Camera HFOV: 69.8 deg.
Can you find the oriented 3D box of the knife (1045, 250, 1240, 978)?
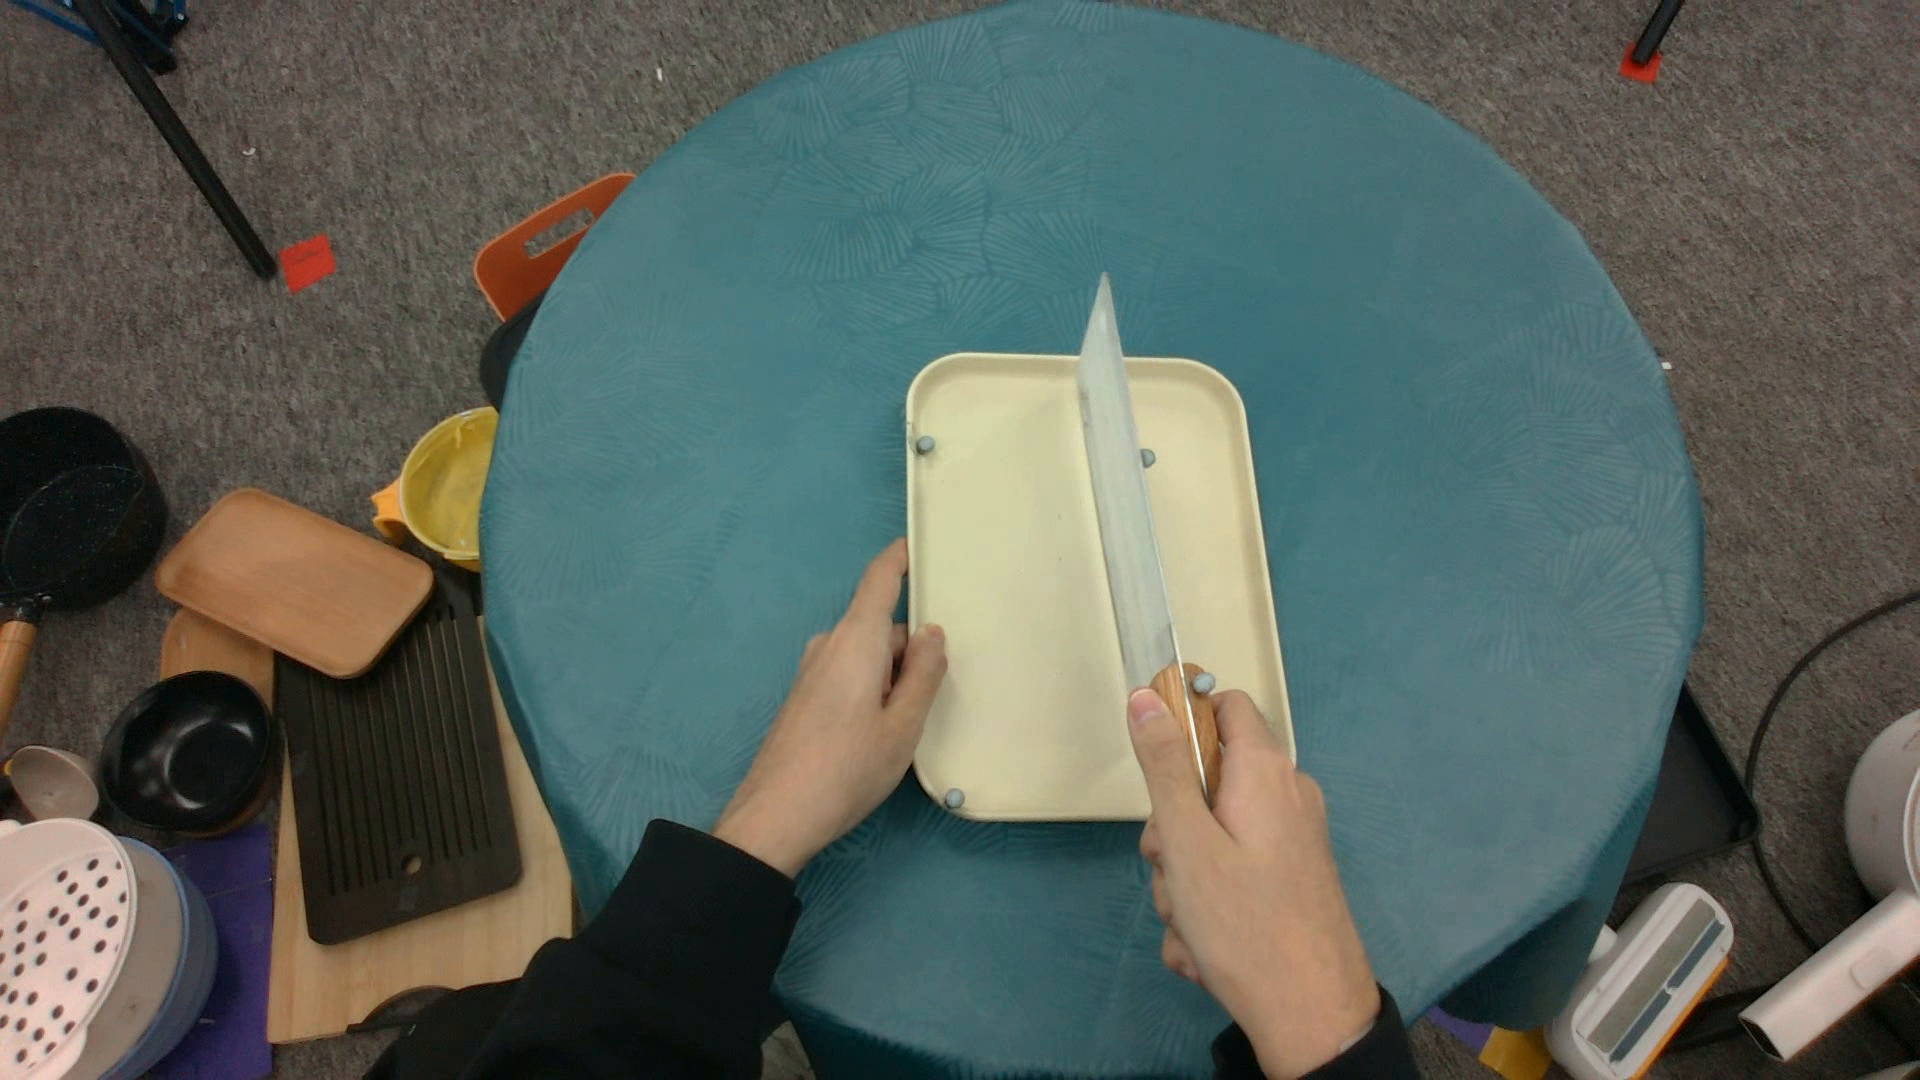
[{"bbox_3d":[0.066,0.027,0.573,0.021,0.092,0.306,-5,67,-9],"label":"knife"}]

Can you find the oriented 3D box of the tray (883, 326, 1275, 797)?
[{"bbox_3d":[0.050,0.004,0.642,0.171,0.017,0.240,1,62,-8],"label":"tray"}]
